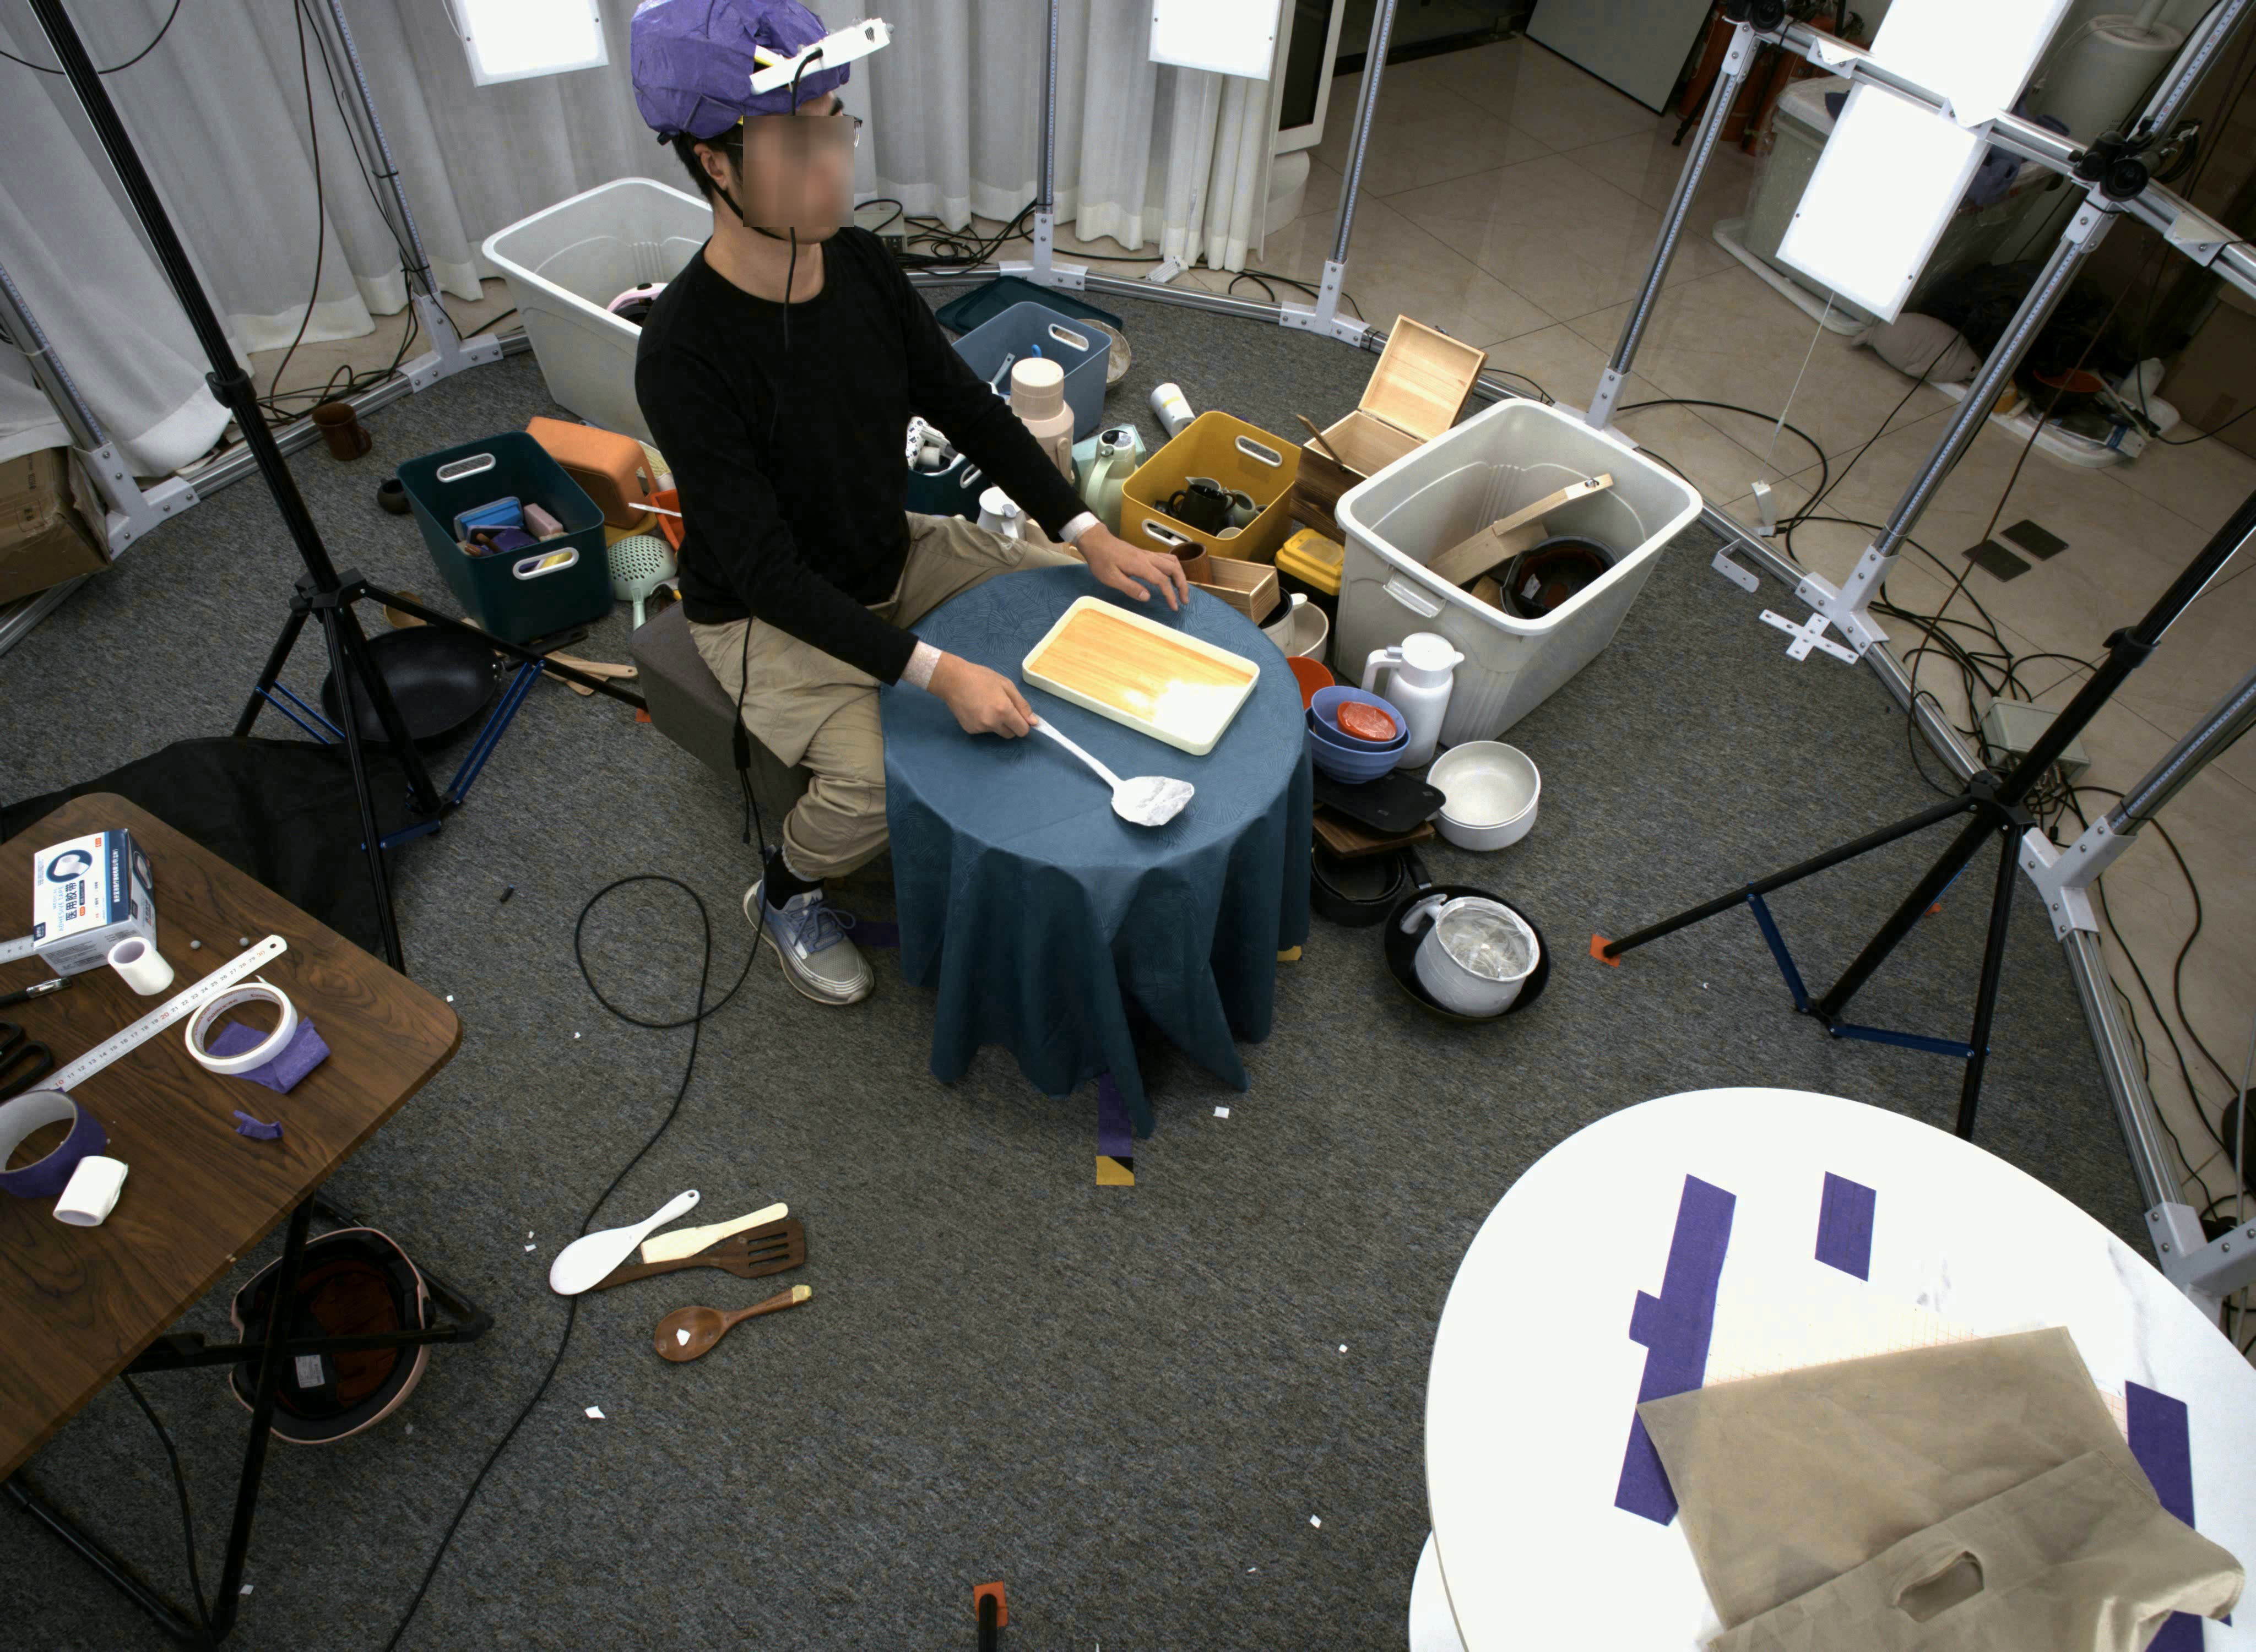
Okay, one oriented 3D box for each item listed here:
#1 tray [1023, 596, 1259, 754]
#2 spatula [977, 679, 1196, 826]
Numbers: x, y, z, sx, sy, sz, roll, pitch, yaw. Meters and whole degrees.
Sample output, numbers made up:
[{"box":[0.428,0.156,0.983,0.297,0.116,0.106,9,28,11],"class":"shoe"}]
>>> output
[{"box":[0.019,-0.221,1.846,0.302,0.027,0.195,25,52,17],"class":"tray"},{"box":[-0.073,-0.110,1.725,0.369,0.044,0.100,36,56,18],"class":"spatula"}]
